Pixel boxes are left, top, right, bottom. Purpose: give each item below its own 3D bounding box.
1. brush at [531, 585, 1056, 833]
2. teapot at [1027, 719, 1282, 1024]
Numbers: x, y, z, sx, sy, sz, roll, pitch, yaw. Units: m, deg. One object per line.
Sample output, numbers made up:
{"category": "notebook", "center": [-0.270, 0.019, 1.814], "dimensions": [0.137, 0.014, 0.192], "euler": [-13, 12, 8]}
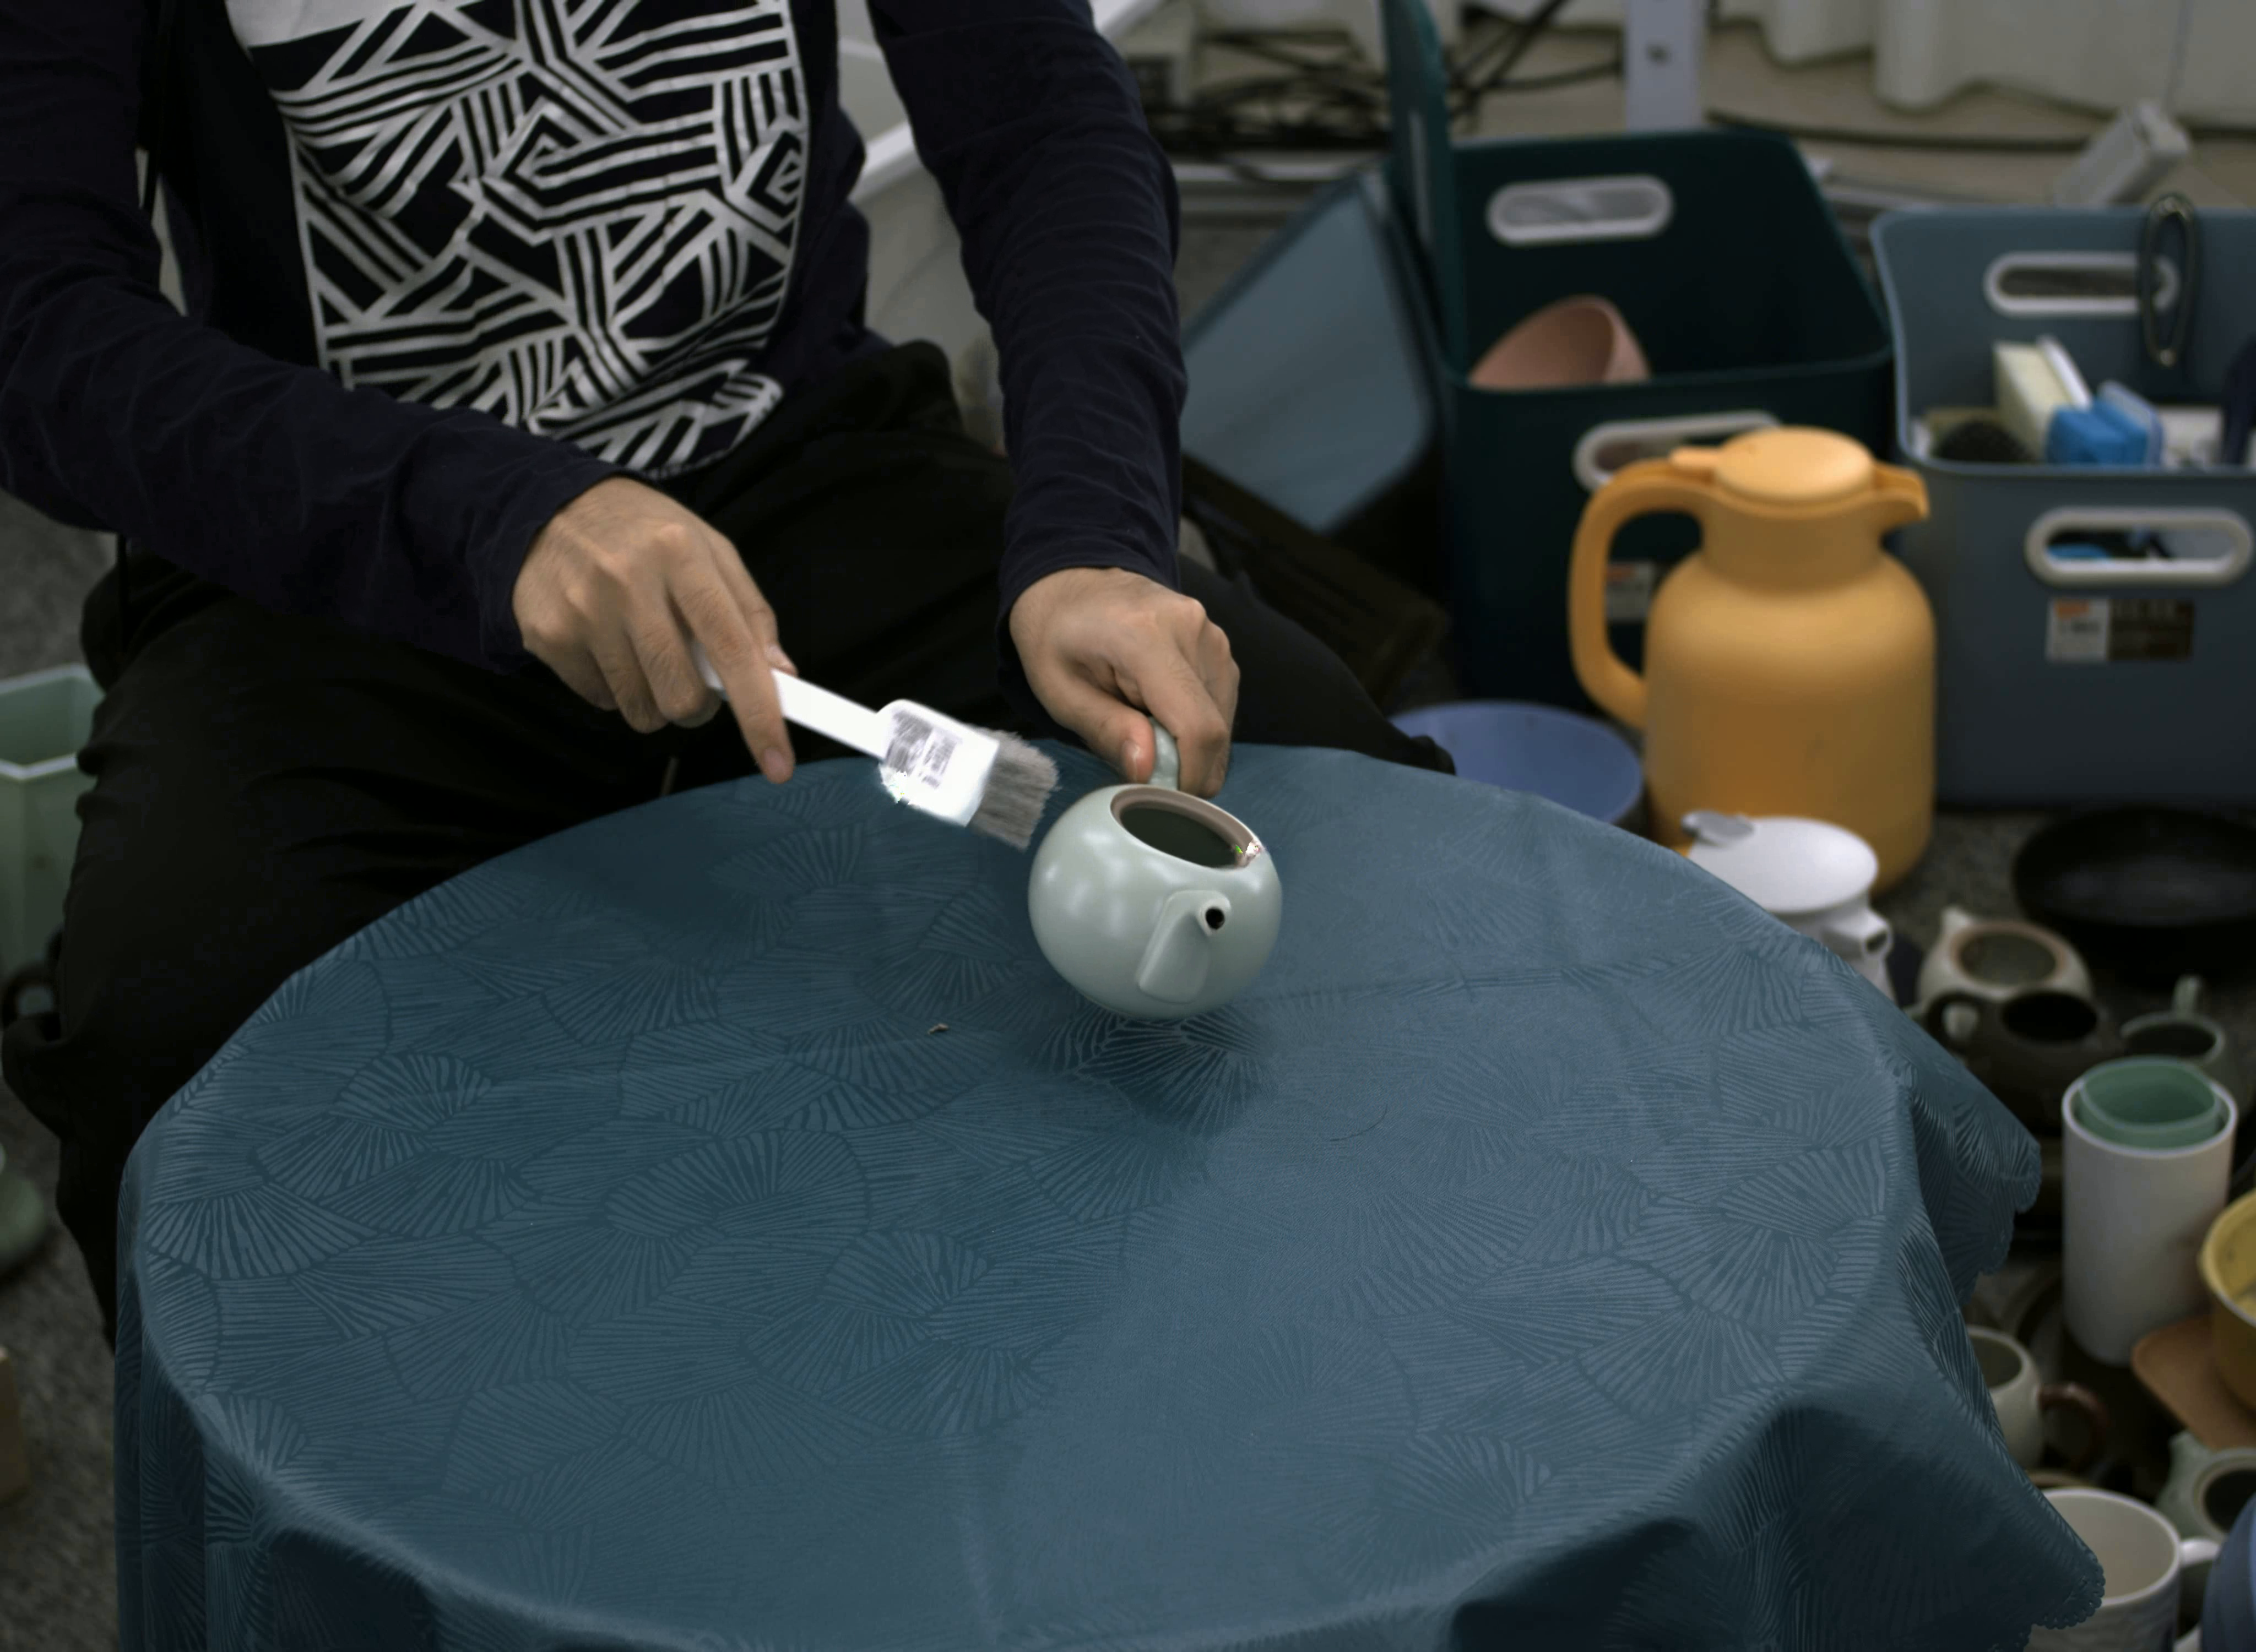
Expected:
{"category": "brush", "center": [-0.119, -0.044, 1.997], "dimensions": [0.243, 0.034, 0.050], "euler": [20, 2, 41]}
{"category": "teapot", "center": [0.009, 0.026, 1.929], "dimensions": [0.088, 0.074, 0.146], "euler": [14, 26, -14]}
